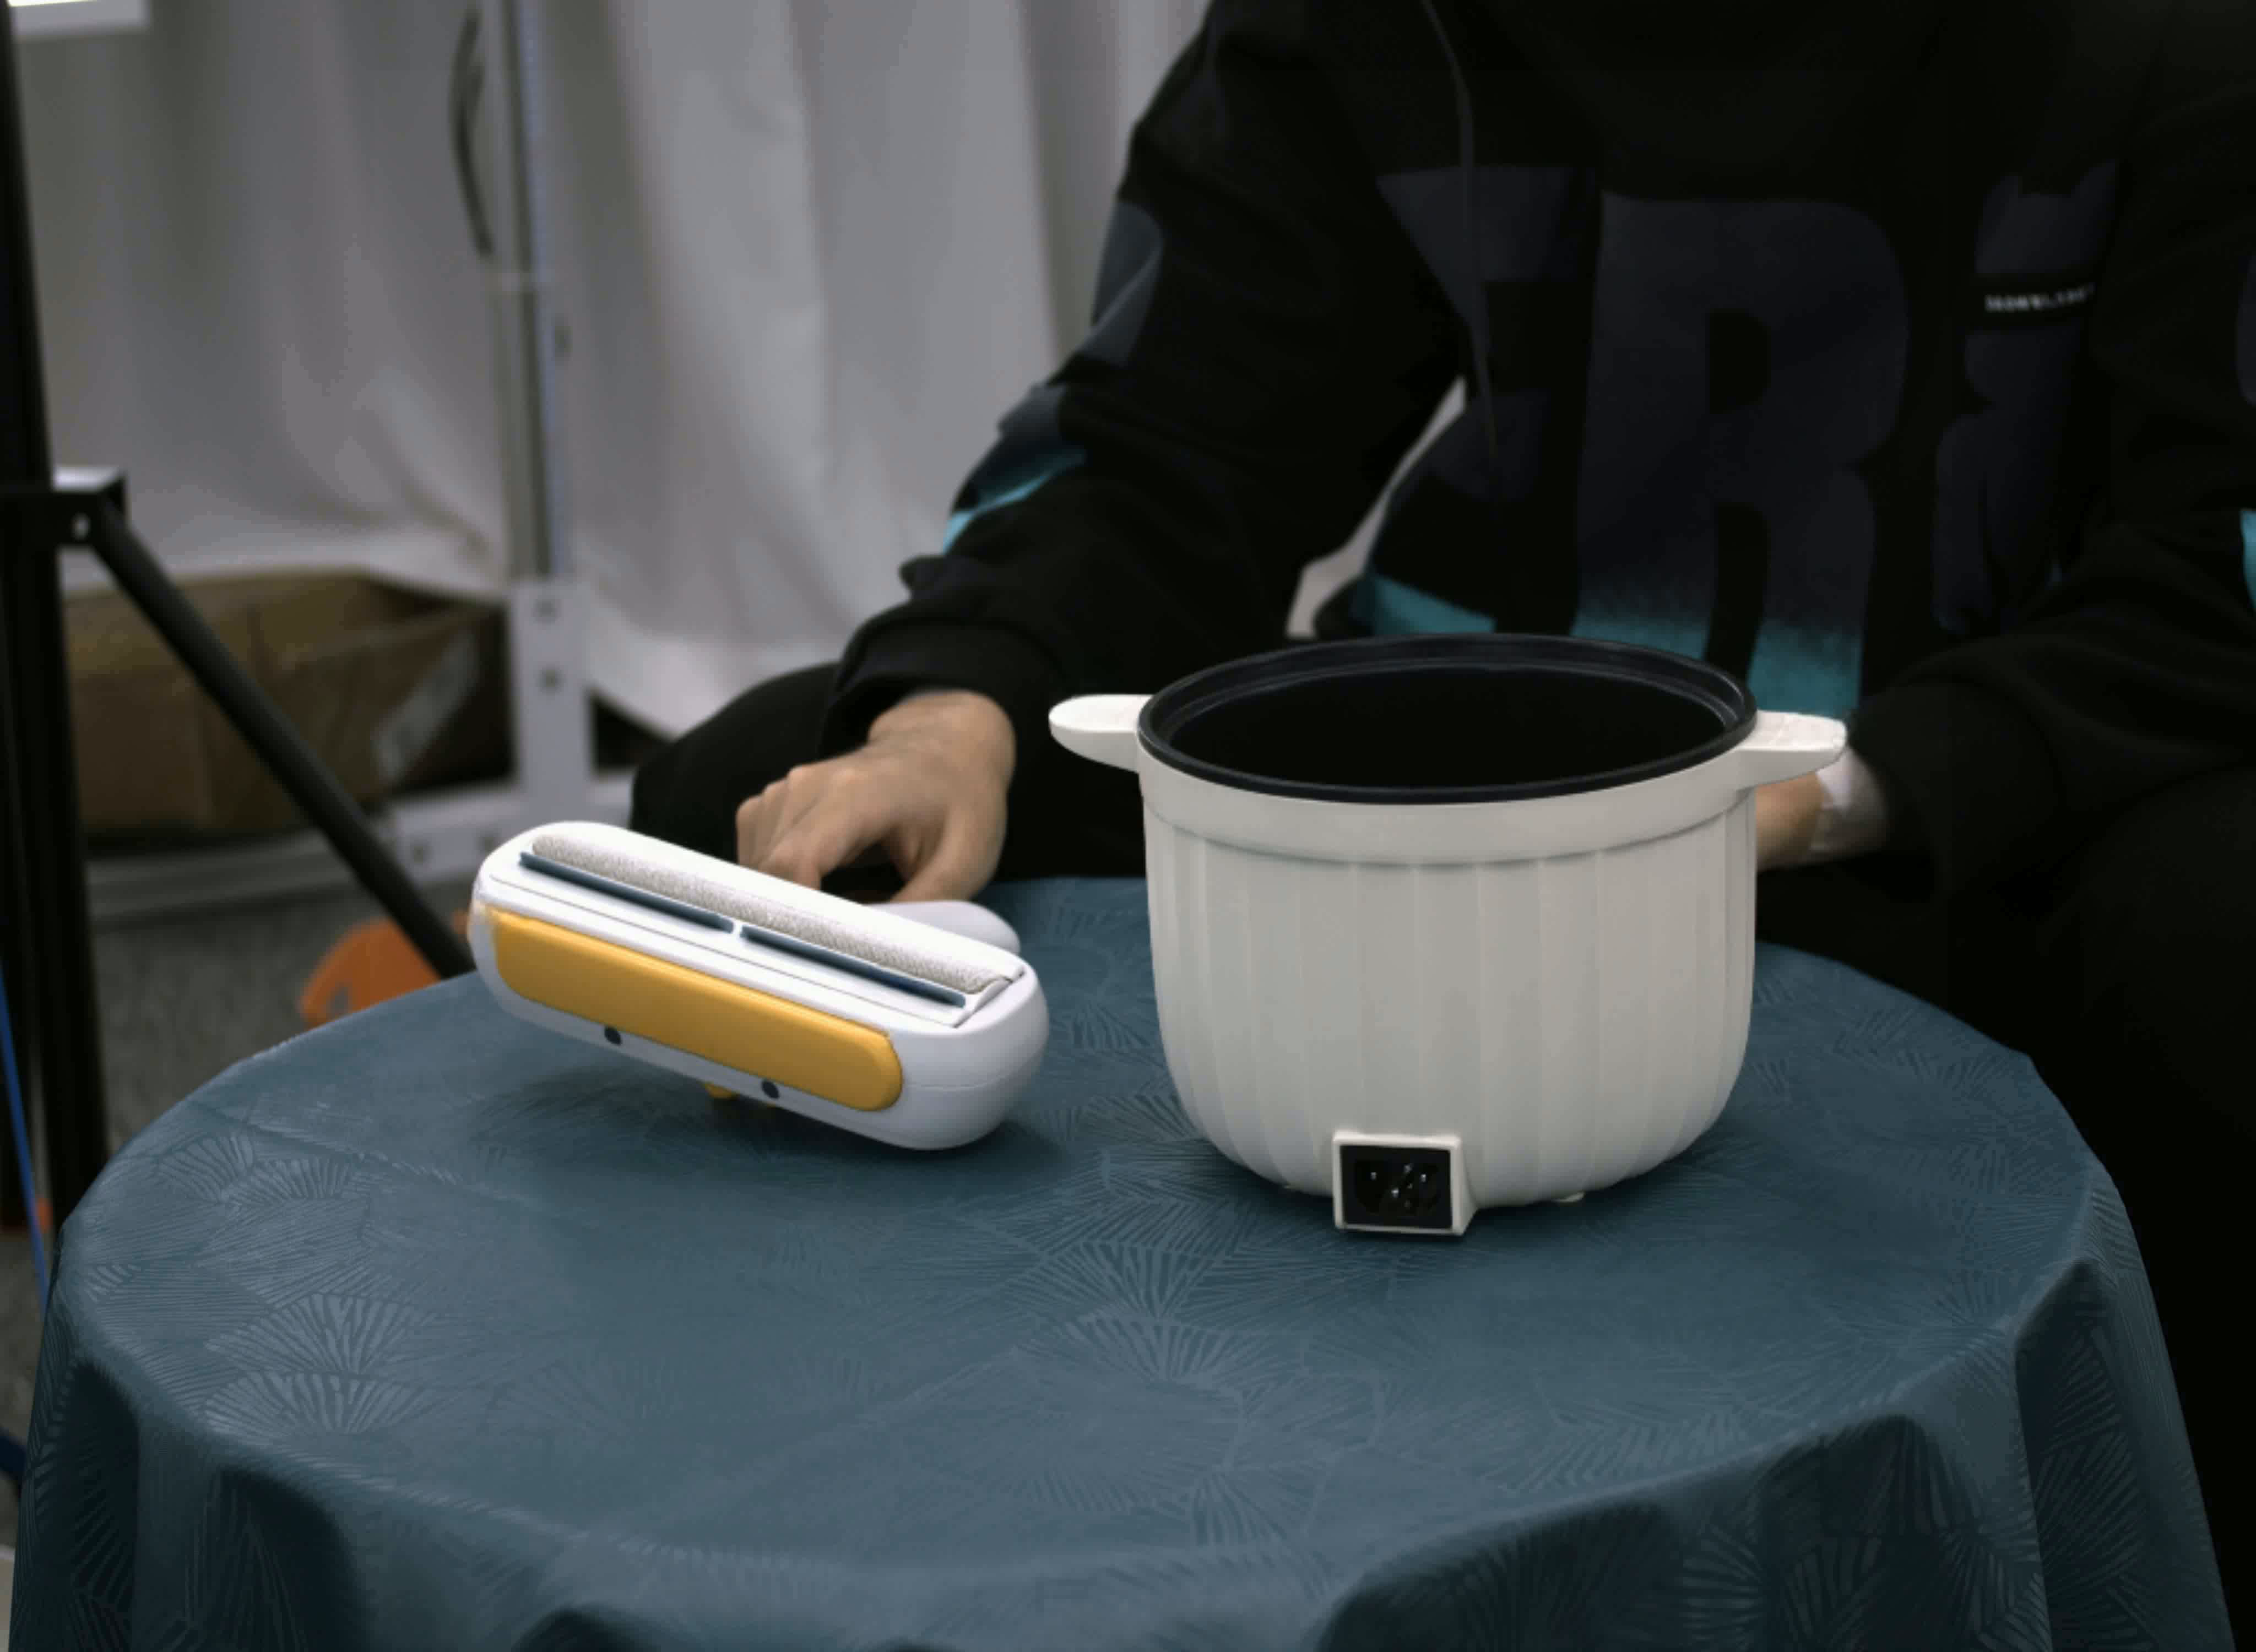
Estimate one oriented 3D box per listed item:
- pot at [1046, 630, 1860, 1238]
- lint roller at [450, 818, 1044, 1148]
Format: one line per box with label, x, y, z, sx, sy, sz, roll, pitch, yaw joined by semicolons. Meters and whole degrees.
pot;0.095;0.028;1.568;0.242;0.142;0.189;3;19;15
lint roller;-0.091;0.040;1.688;0.196;0.074;0.188;13;20;31
